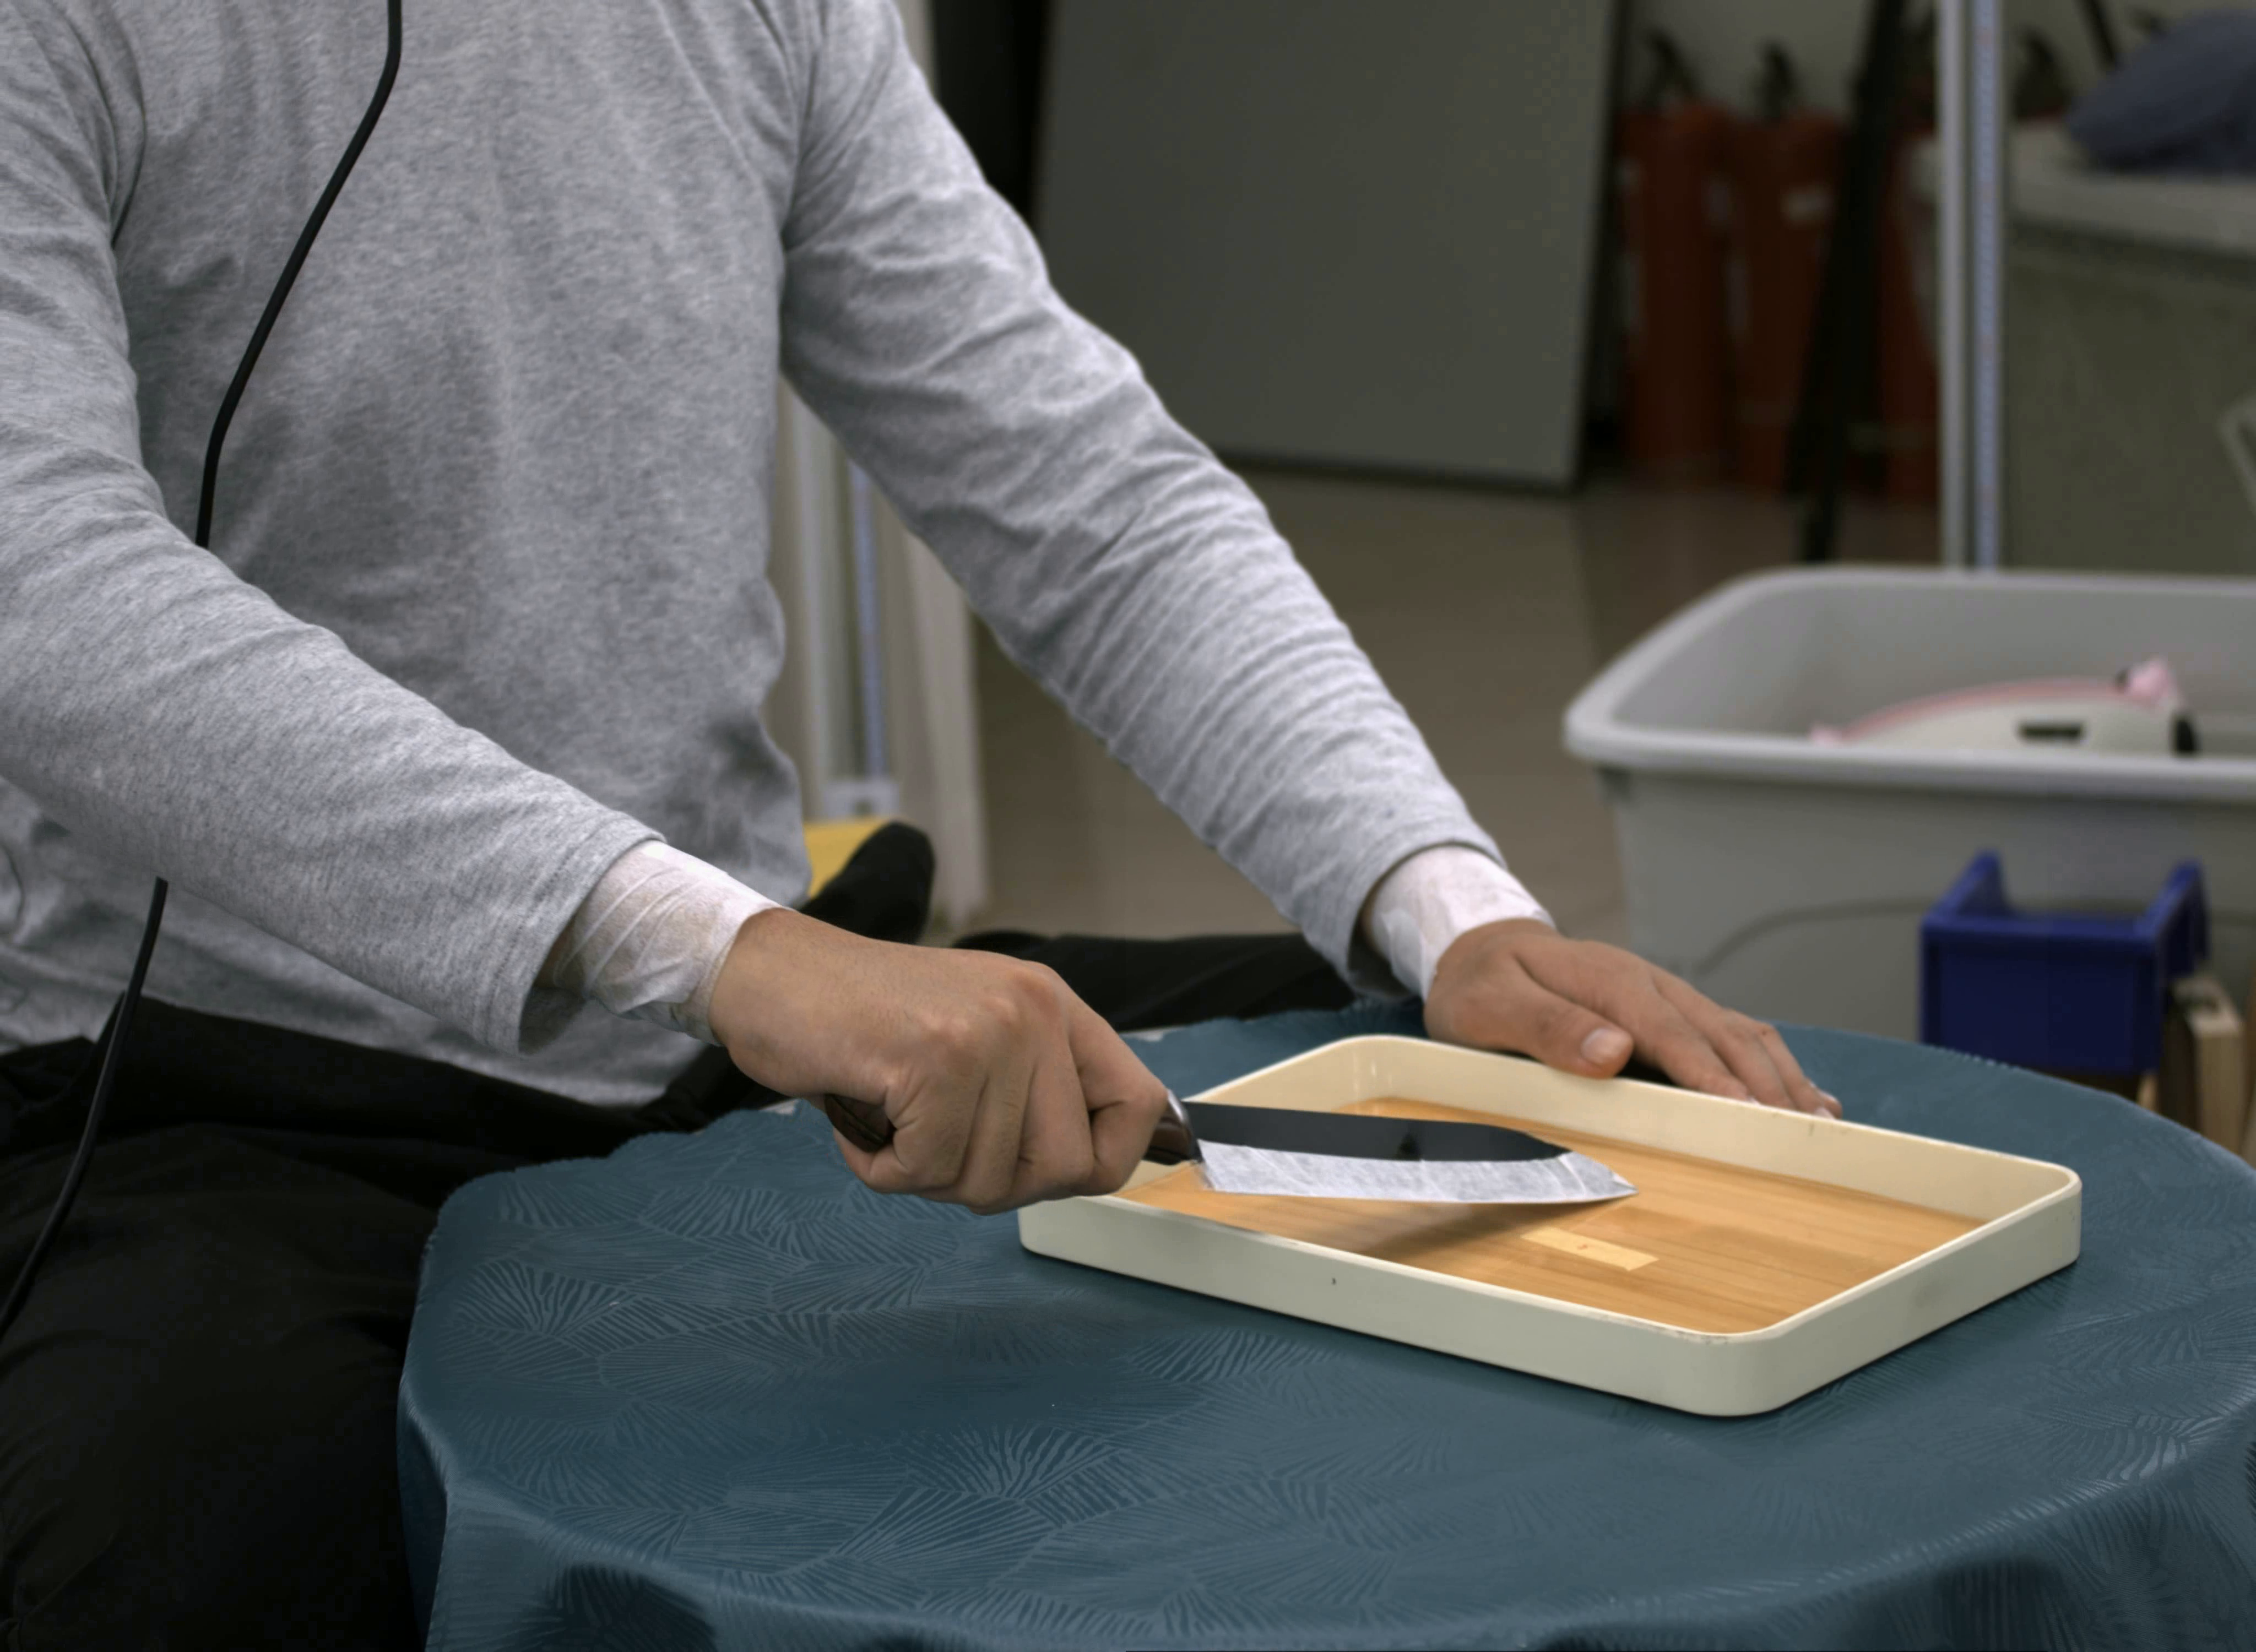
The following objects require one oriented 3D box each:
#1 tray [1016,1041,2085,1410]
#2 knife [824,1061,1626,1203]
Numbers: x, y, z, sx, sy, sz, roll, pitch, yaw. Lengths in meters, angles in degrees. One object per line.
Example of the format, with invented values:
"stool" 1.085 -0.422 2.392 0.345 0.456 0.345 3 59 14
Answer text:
"tray" 0.129 0.121 1.683 0.303 0.028 0.188 9 18 43
"knife" 0.036 0.097 1.656 0.282 0.020 0.051 8 34 -29
